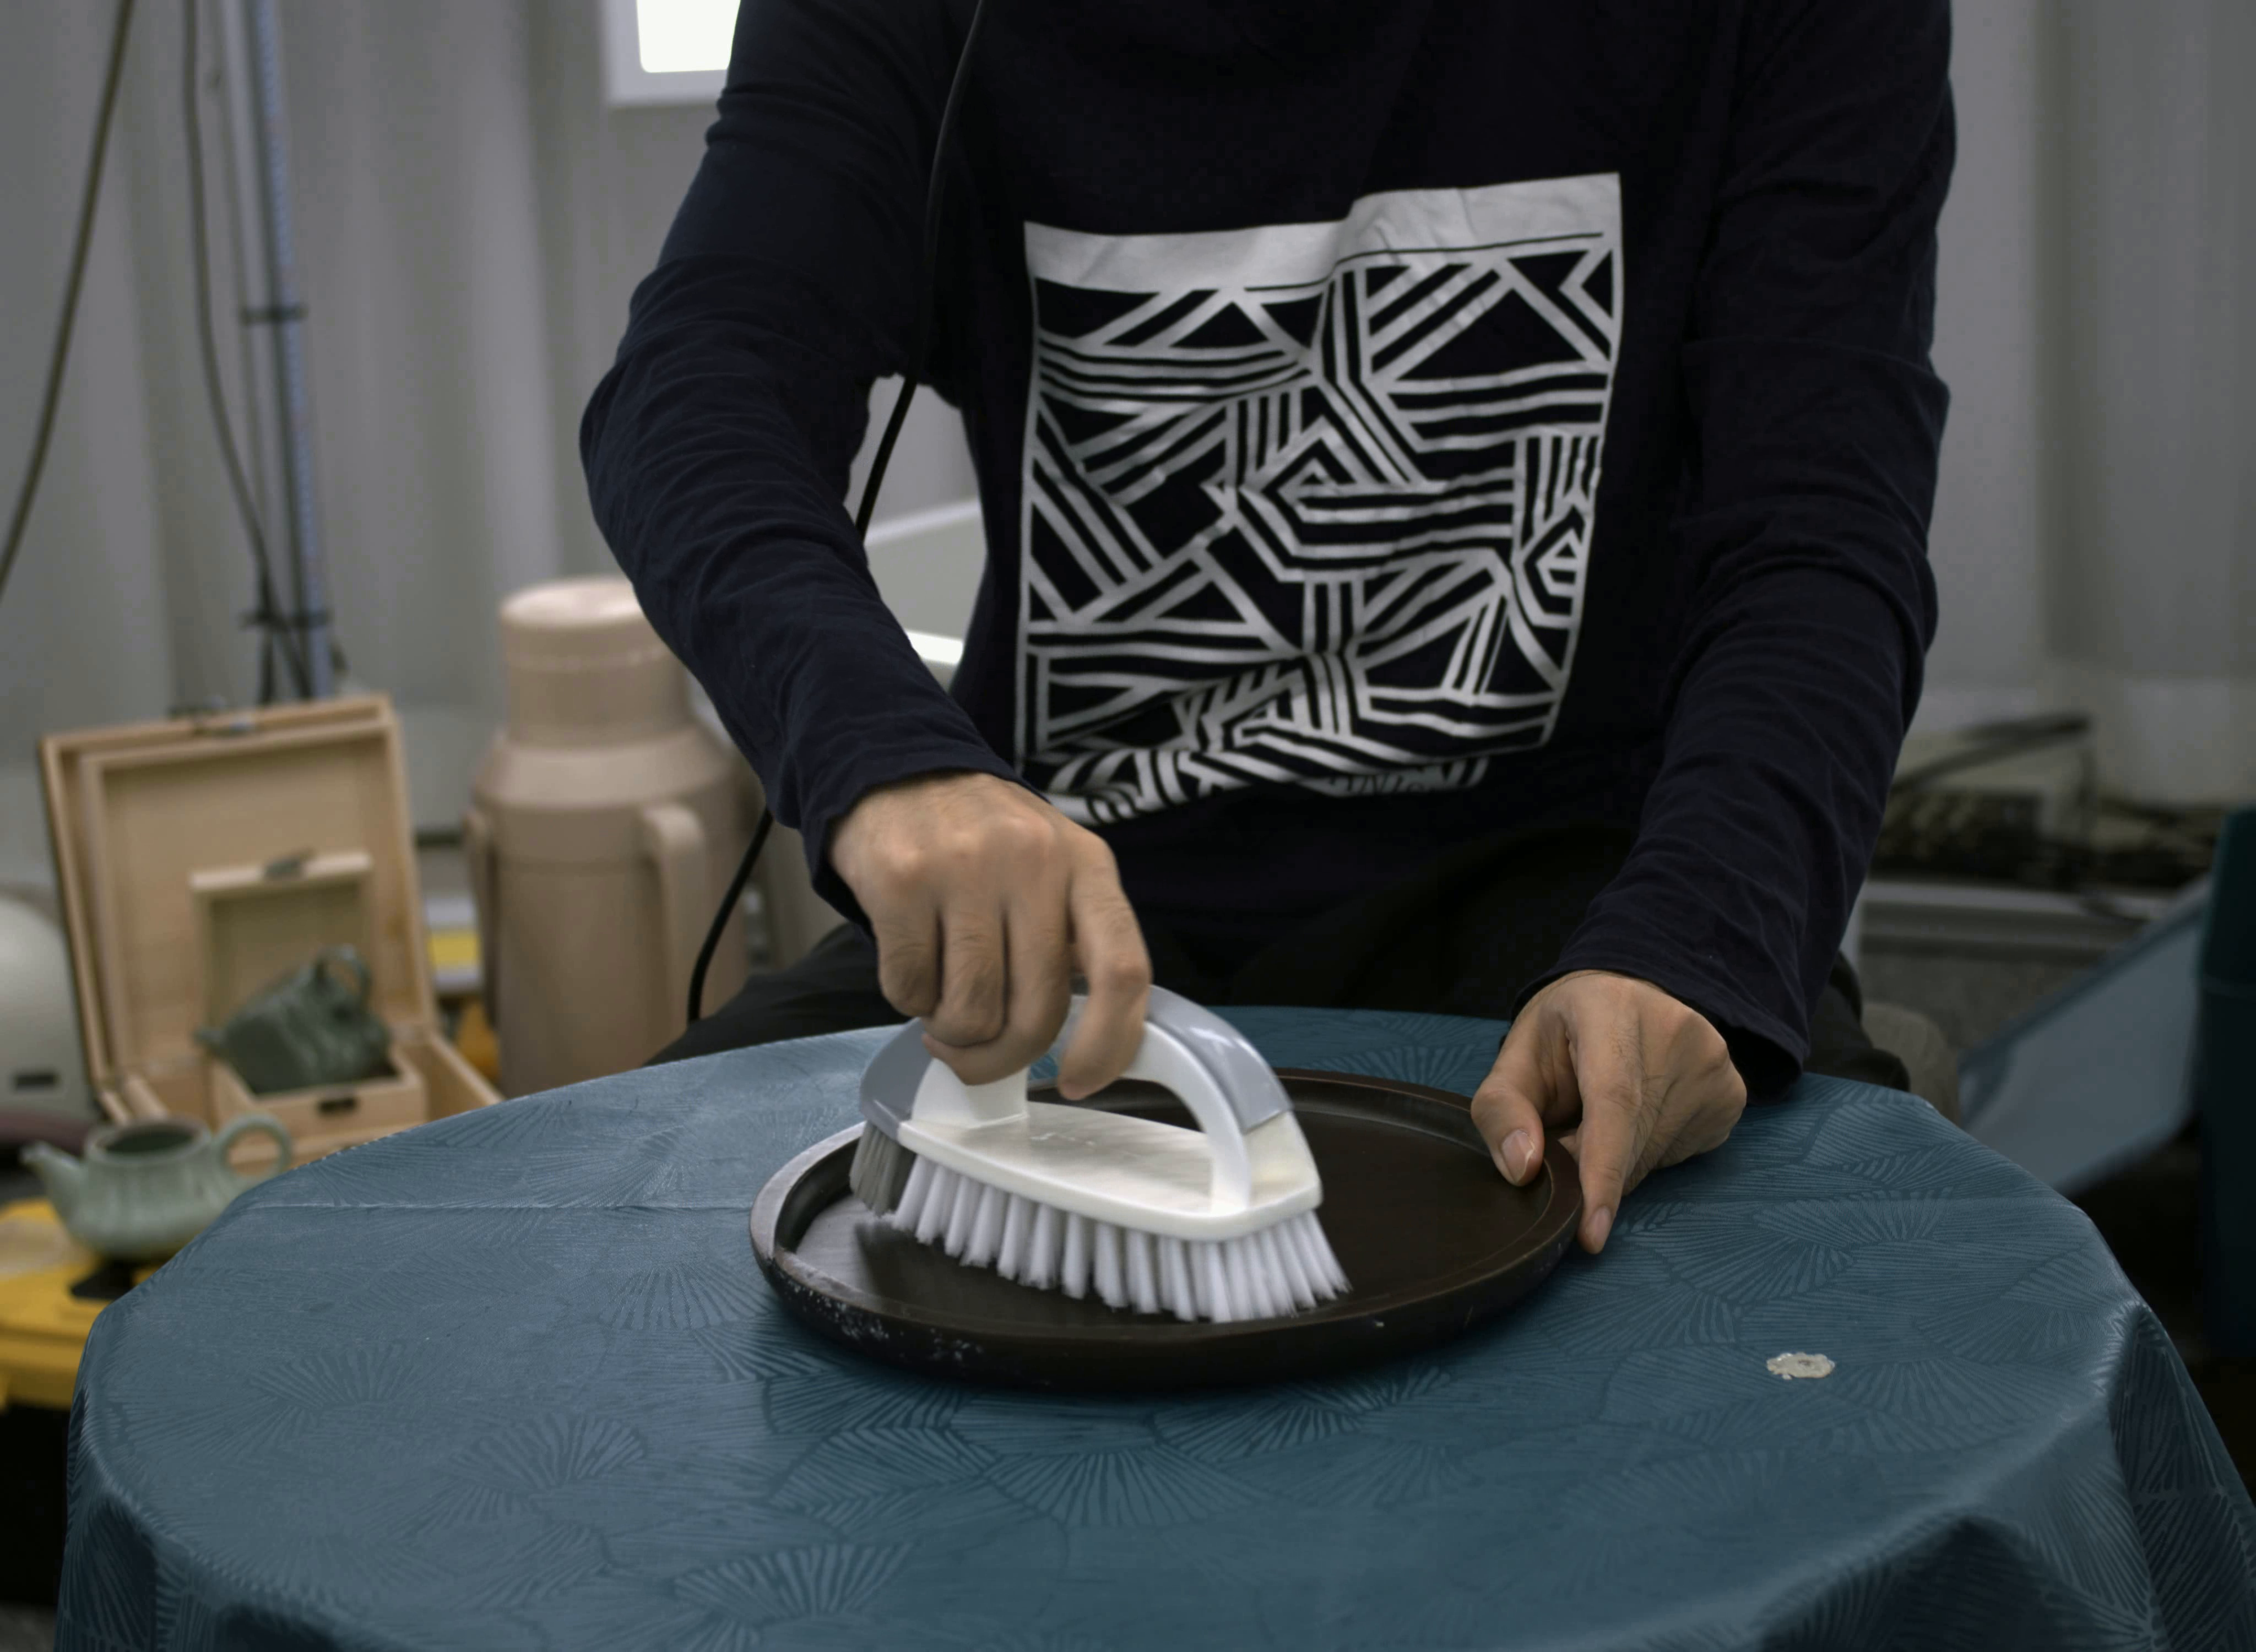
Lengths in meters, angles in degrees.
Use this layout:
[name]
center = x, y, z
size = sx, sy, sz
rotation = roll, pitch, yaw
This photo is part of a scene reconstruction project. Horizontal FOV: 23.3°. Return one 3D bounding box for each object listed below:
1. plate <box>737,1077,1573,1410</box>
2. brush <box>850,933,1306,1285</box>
[plate]
center = 0.008, 0.123, 1.651
size = 0.254, 0.029, 0.256
rotation = -3, 16, 1
[brush]
center = -0.026, 0.076, 1.606
size = 0.061, 0.094, 0.176
rotation = -16, 19, -41
